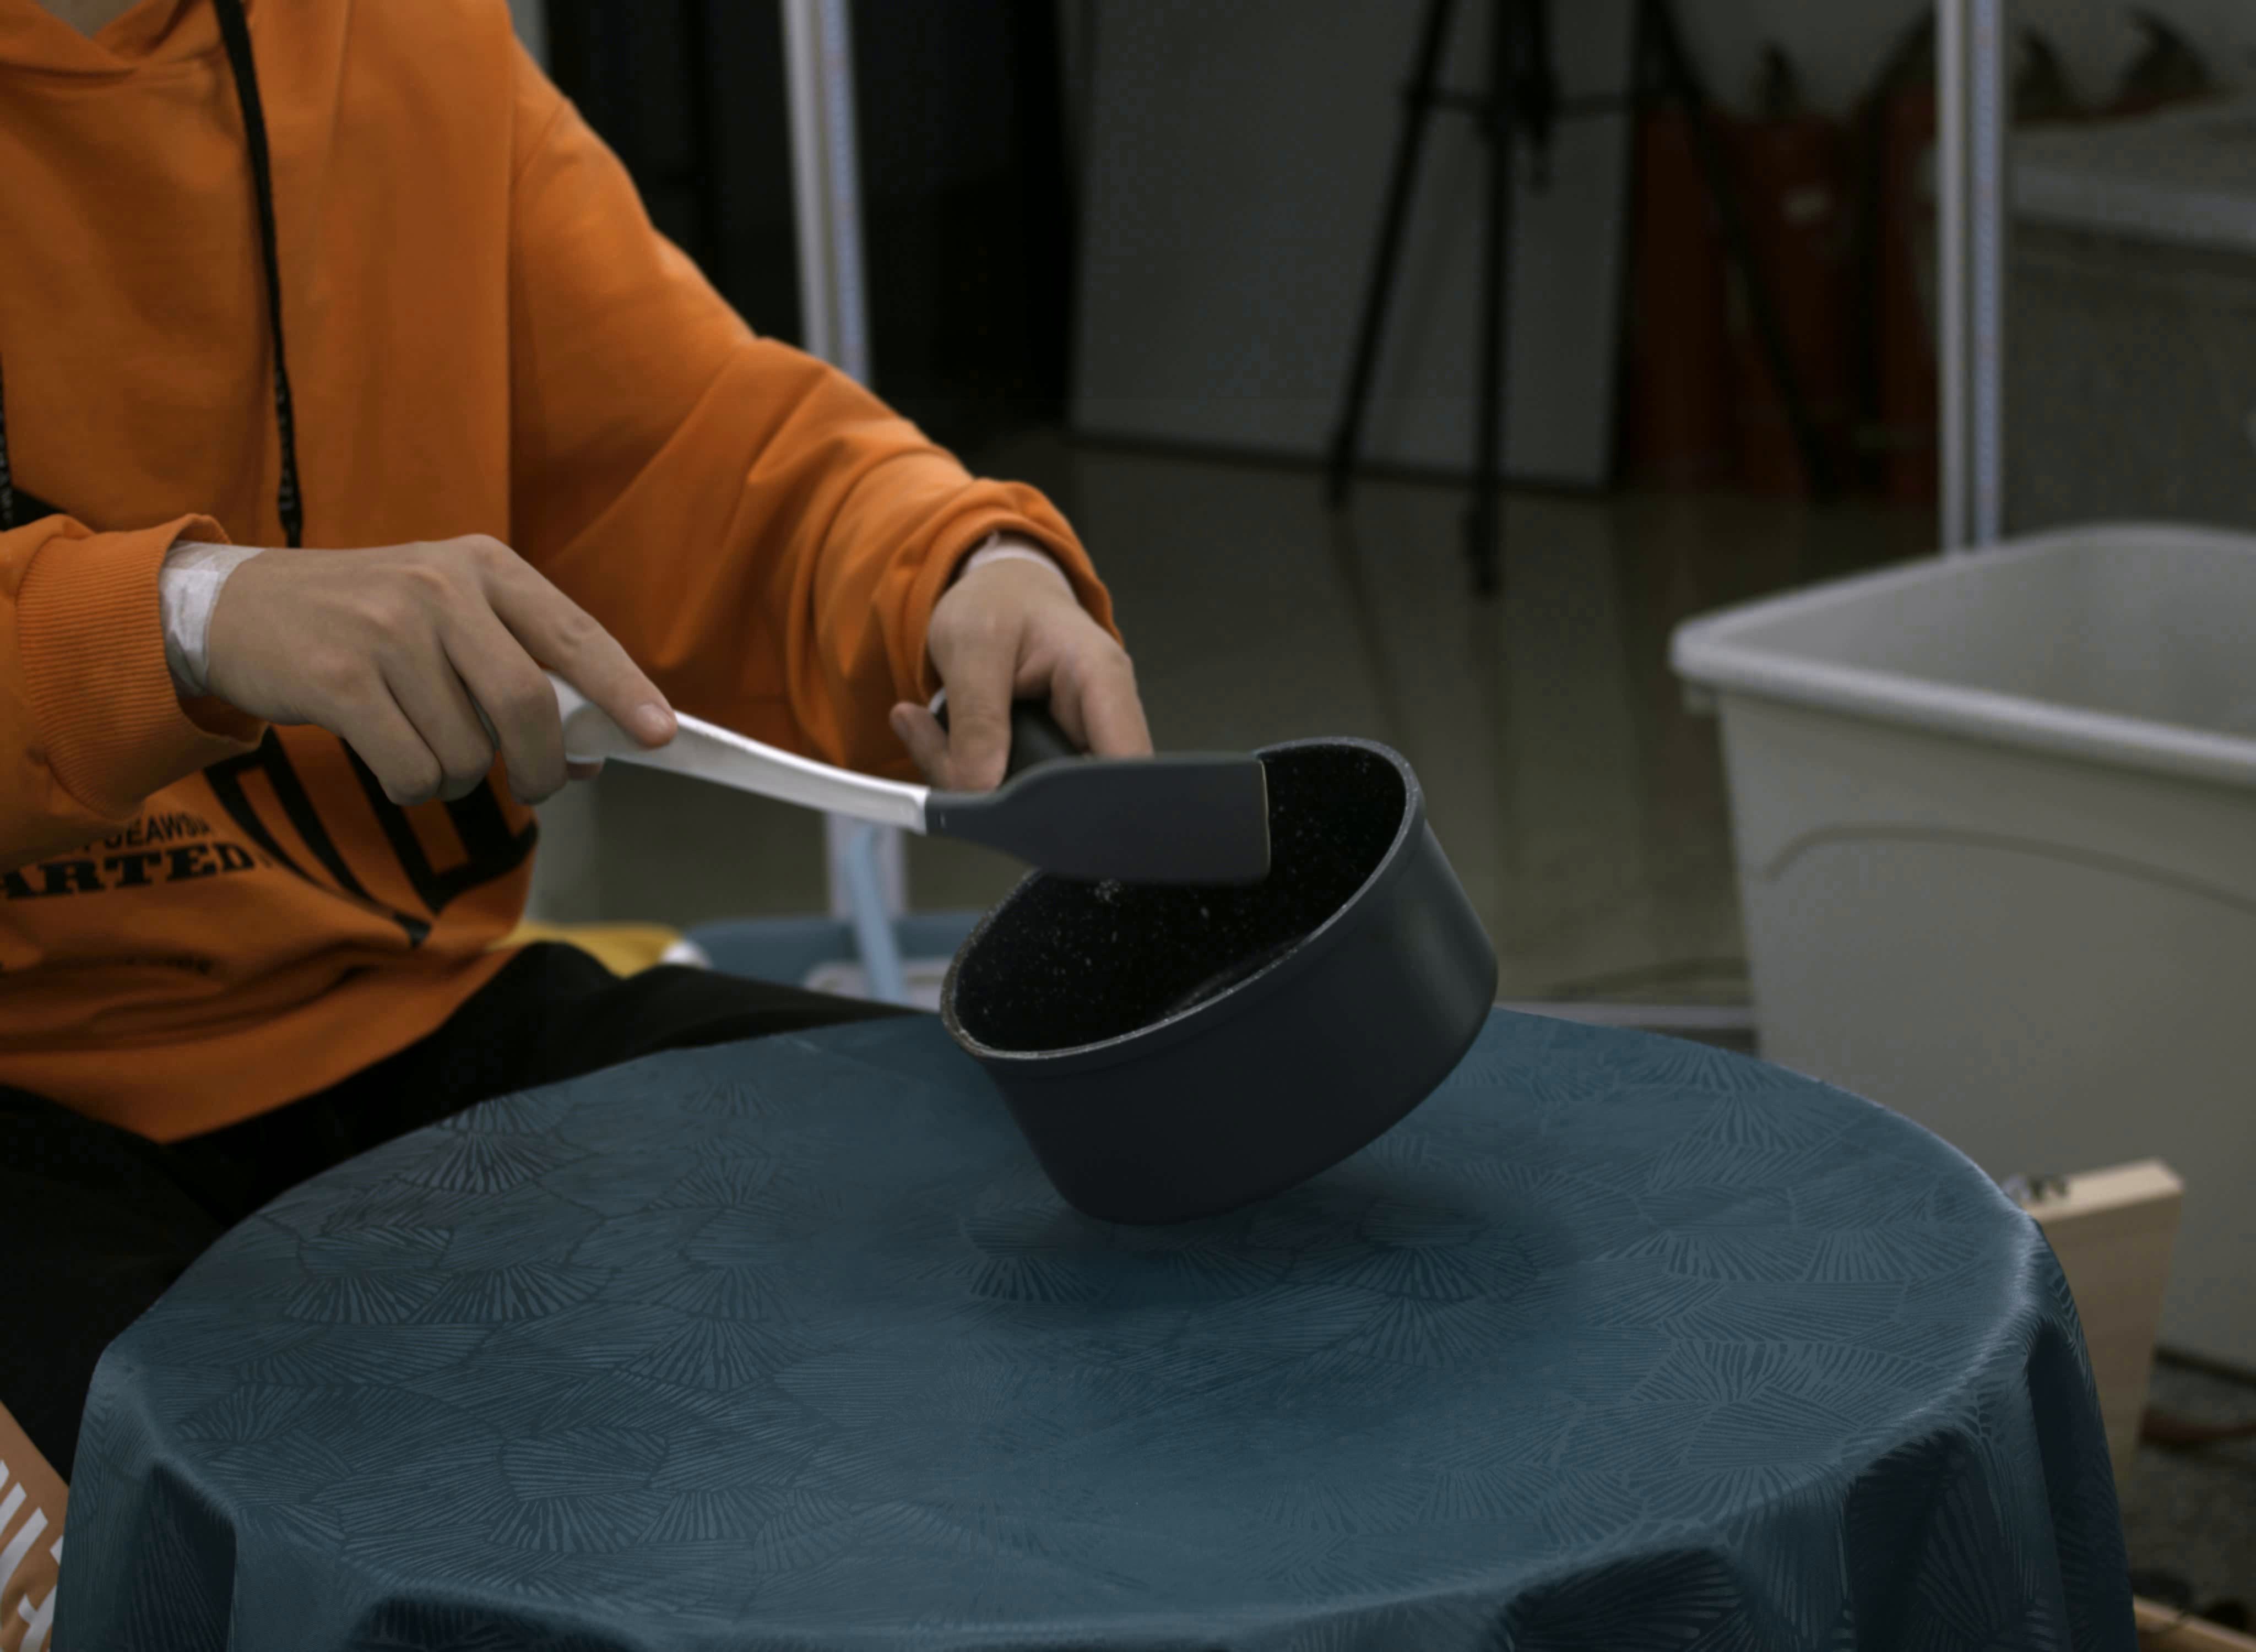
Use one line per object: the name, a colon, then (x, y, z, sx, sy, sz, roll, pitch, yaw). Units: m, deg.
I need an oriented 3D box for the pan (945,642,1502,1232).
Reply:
pan: (0.010, 0.025, 1.794, 0.170, 0.086, 0.331, -32, 24, -4)

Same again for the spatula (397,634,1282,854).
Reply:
spatula: (-0.091, -0.025, 1.686, 0.287, 0.059, 0.032, 8, 41, 17)
